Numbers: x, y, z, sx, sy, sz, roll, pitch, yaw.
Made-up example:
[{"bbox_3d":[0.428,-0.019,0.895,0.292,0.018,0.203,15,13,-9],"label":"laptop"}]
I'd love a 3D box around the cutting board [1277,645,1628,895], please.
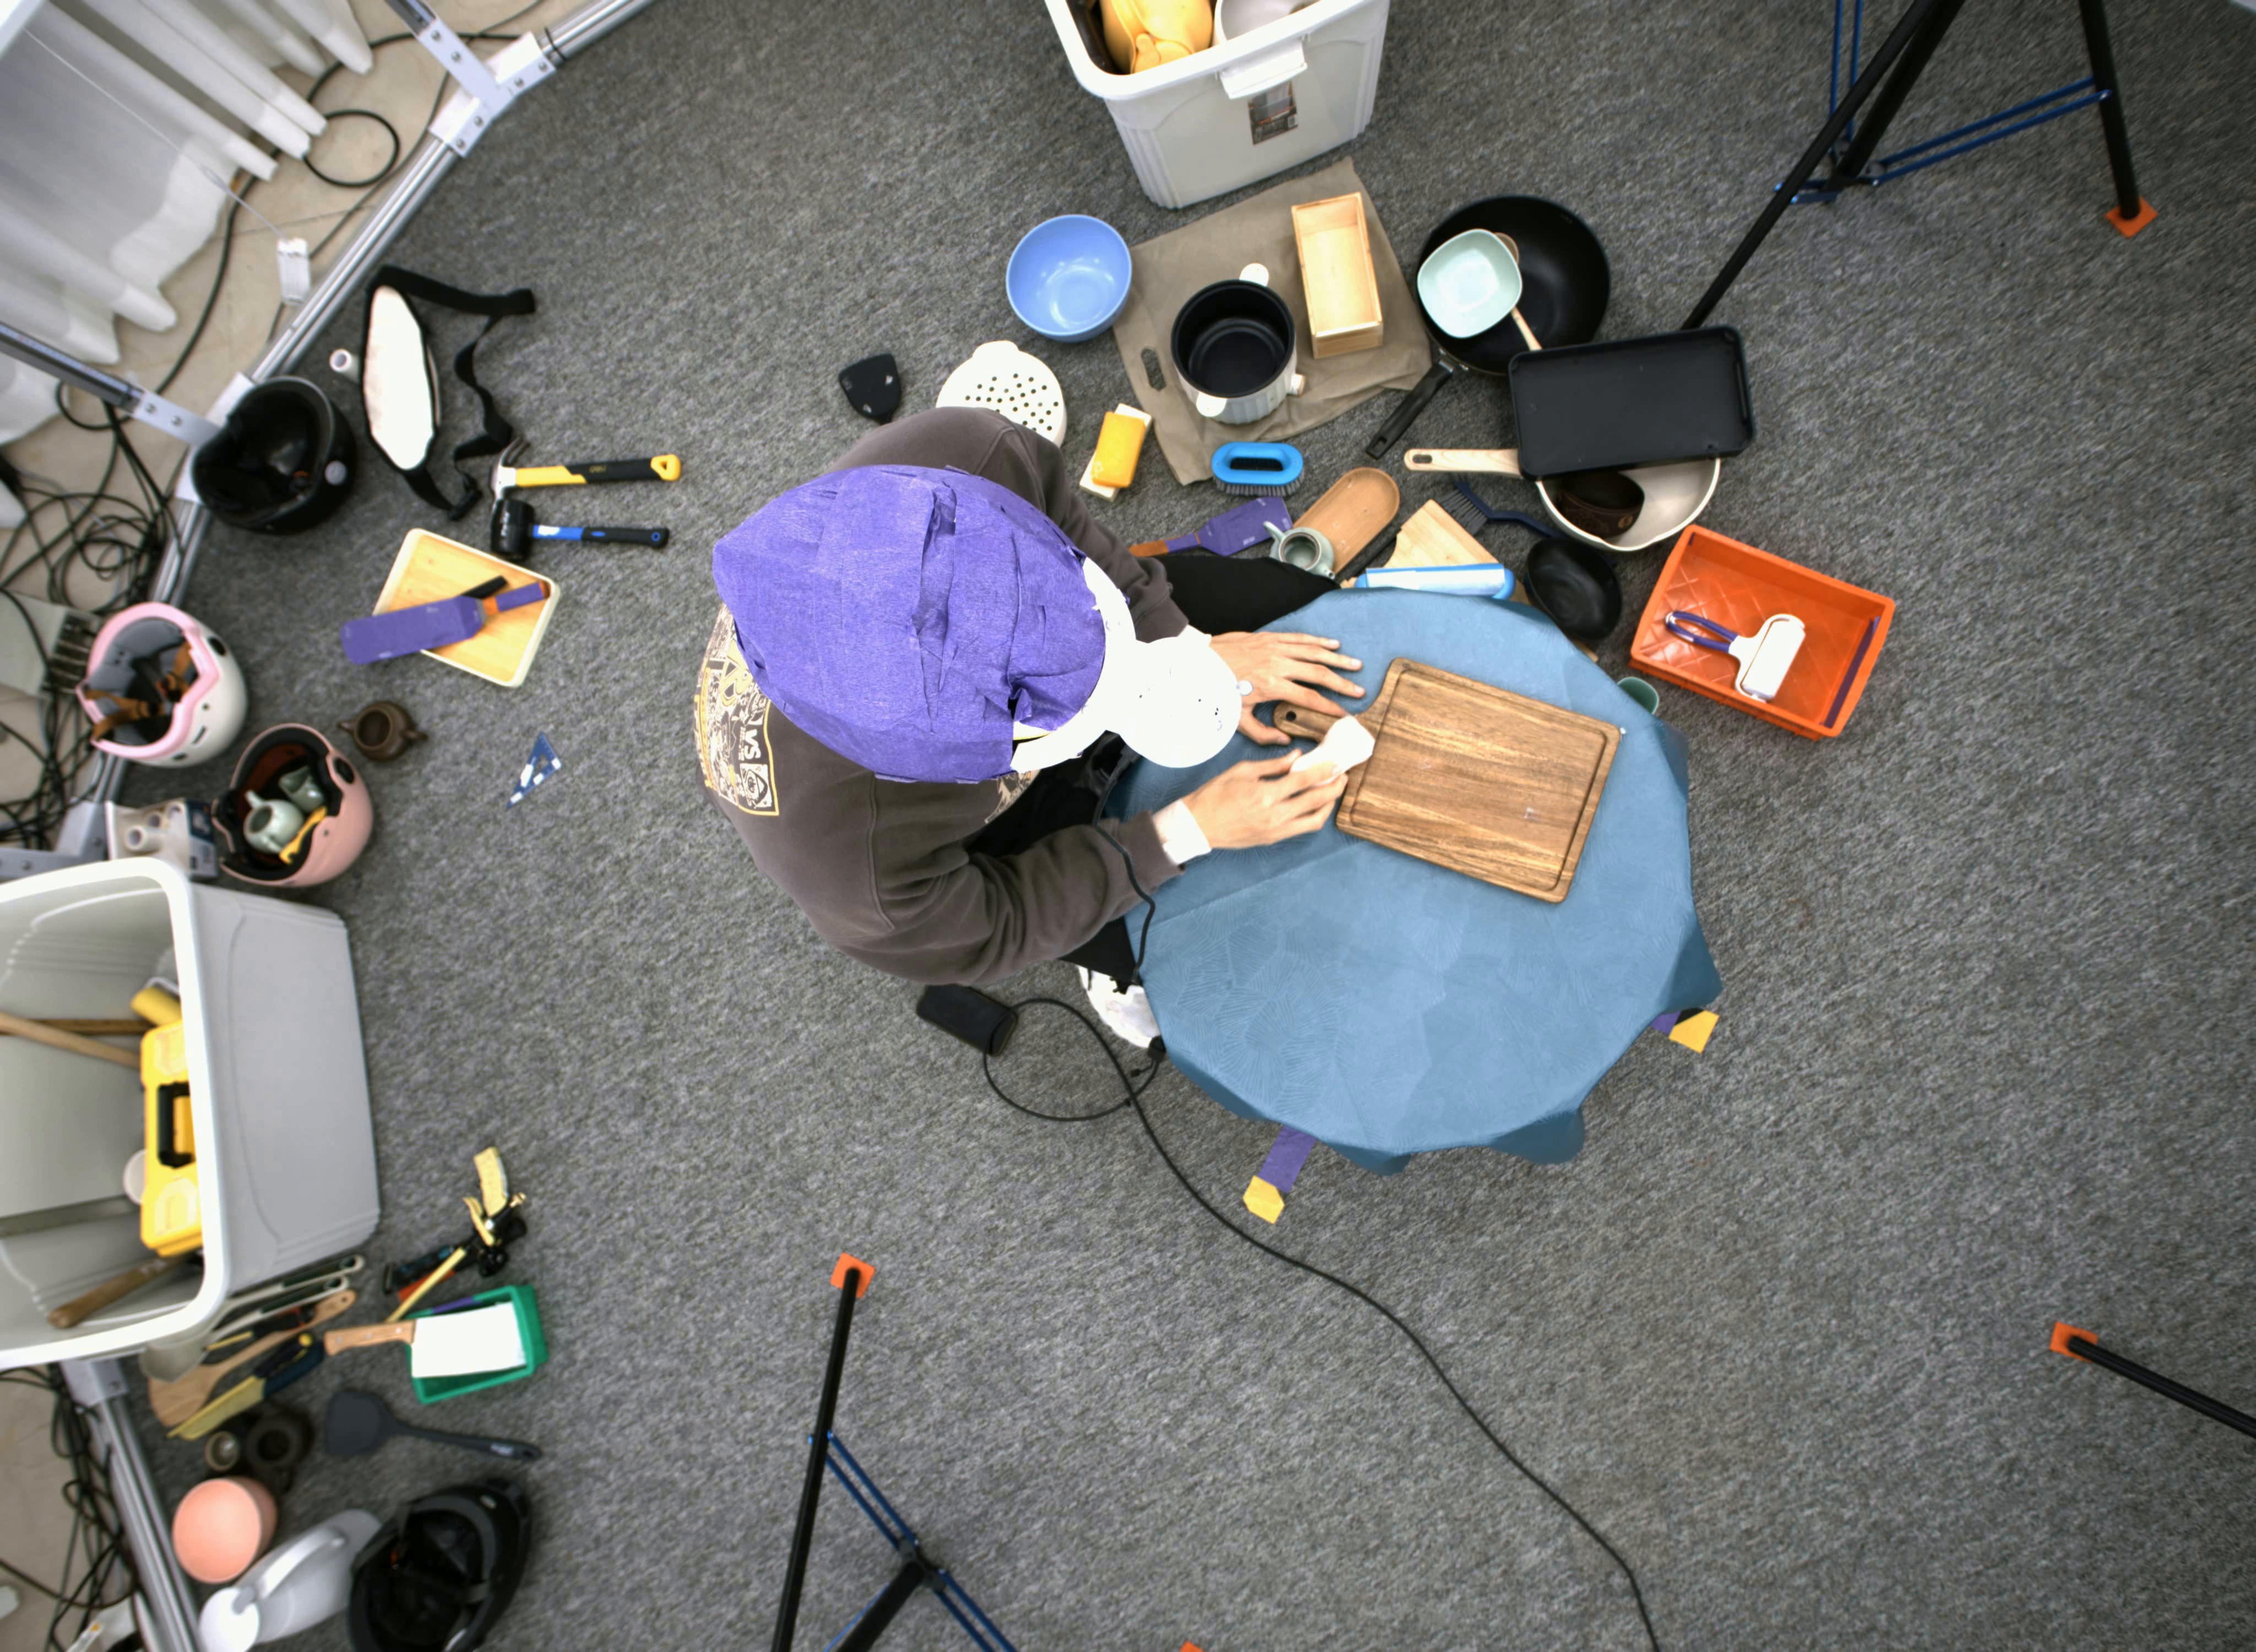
[{"bbox_3d":[0.325,-0.079,1.444,0.352,0.023,0.201,20,91,11],"label":"cutting board"}]

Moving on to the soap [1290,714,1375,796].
[{"bbox_3d":[0.213,-0.075,1.438,0.094,0.030,0.050,-42,80,3],"label":"soap"}]
